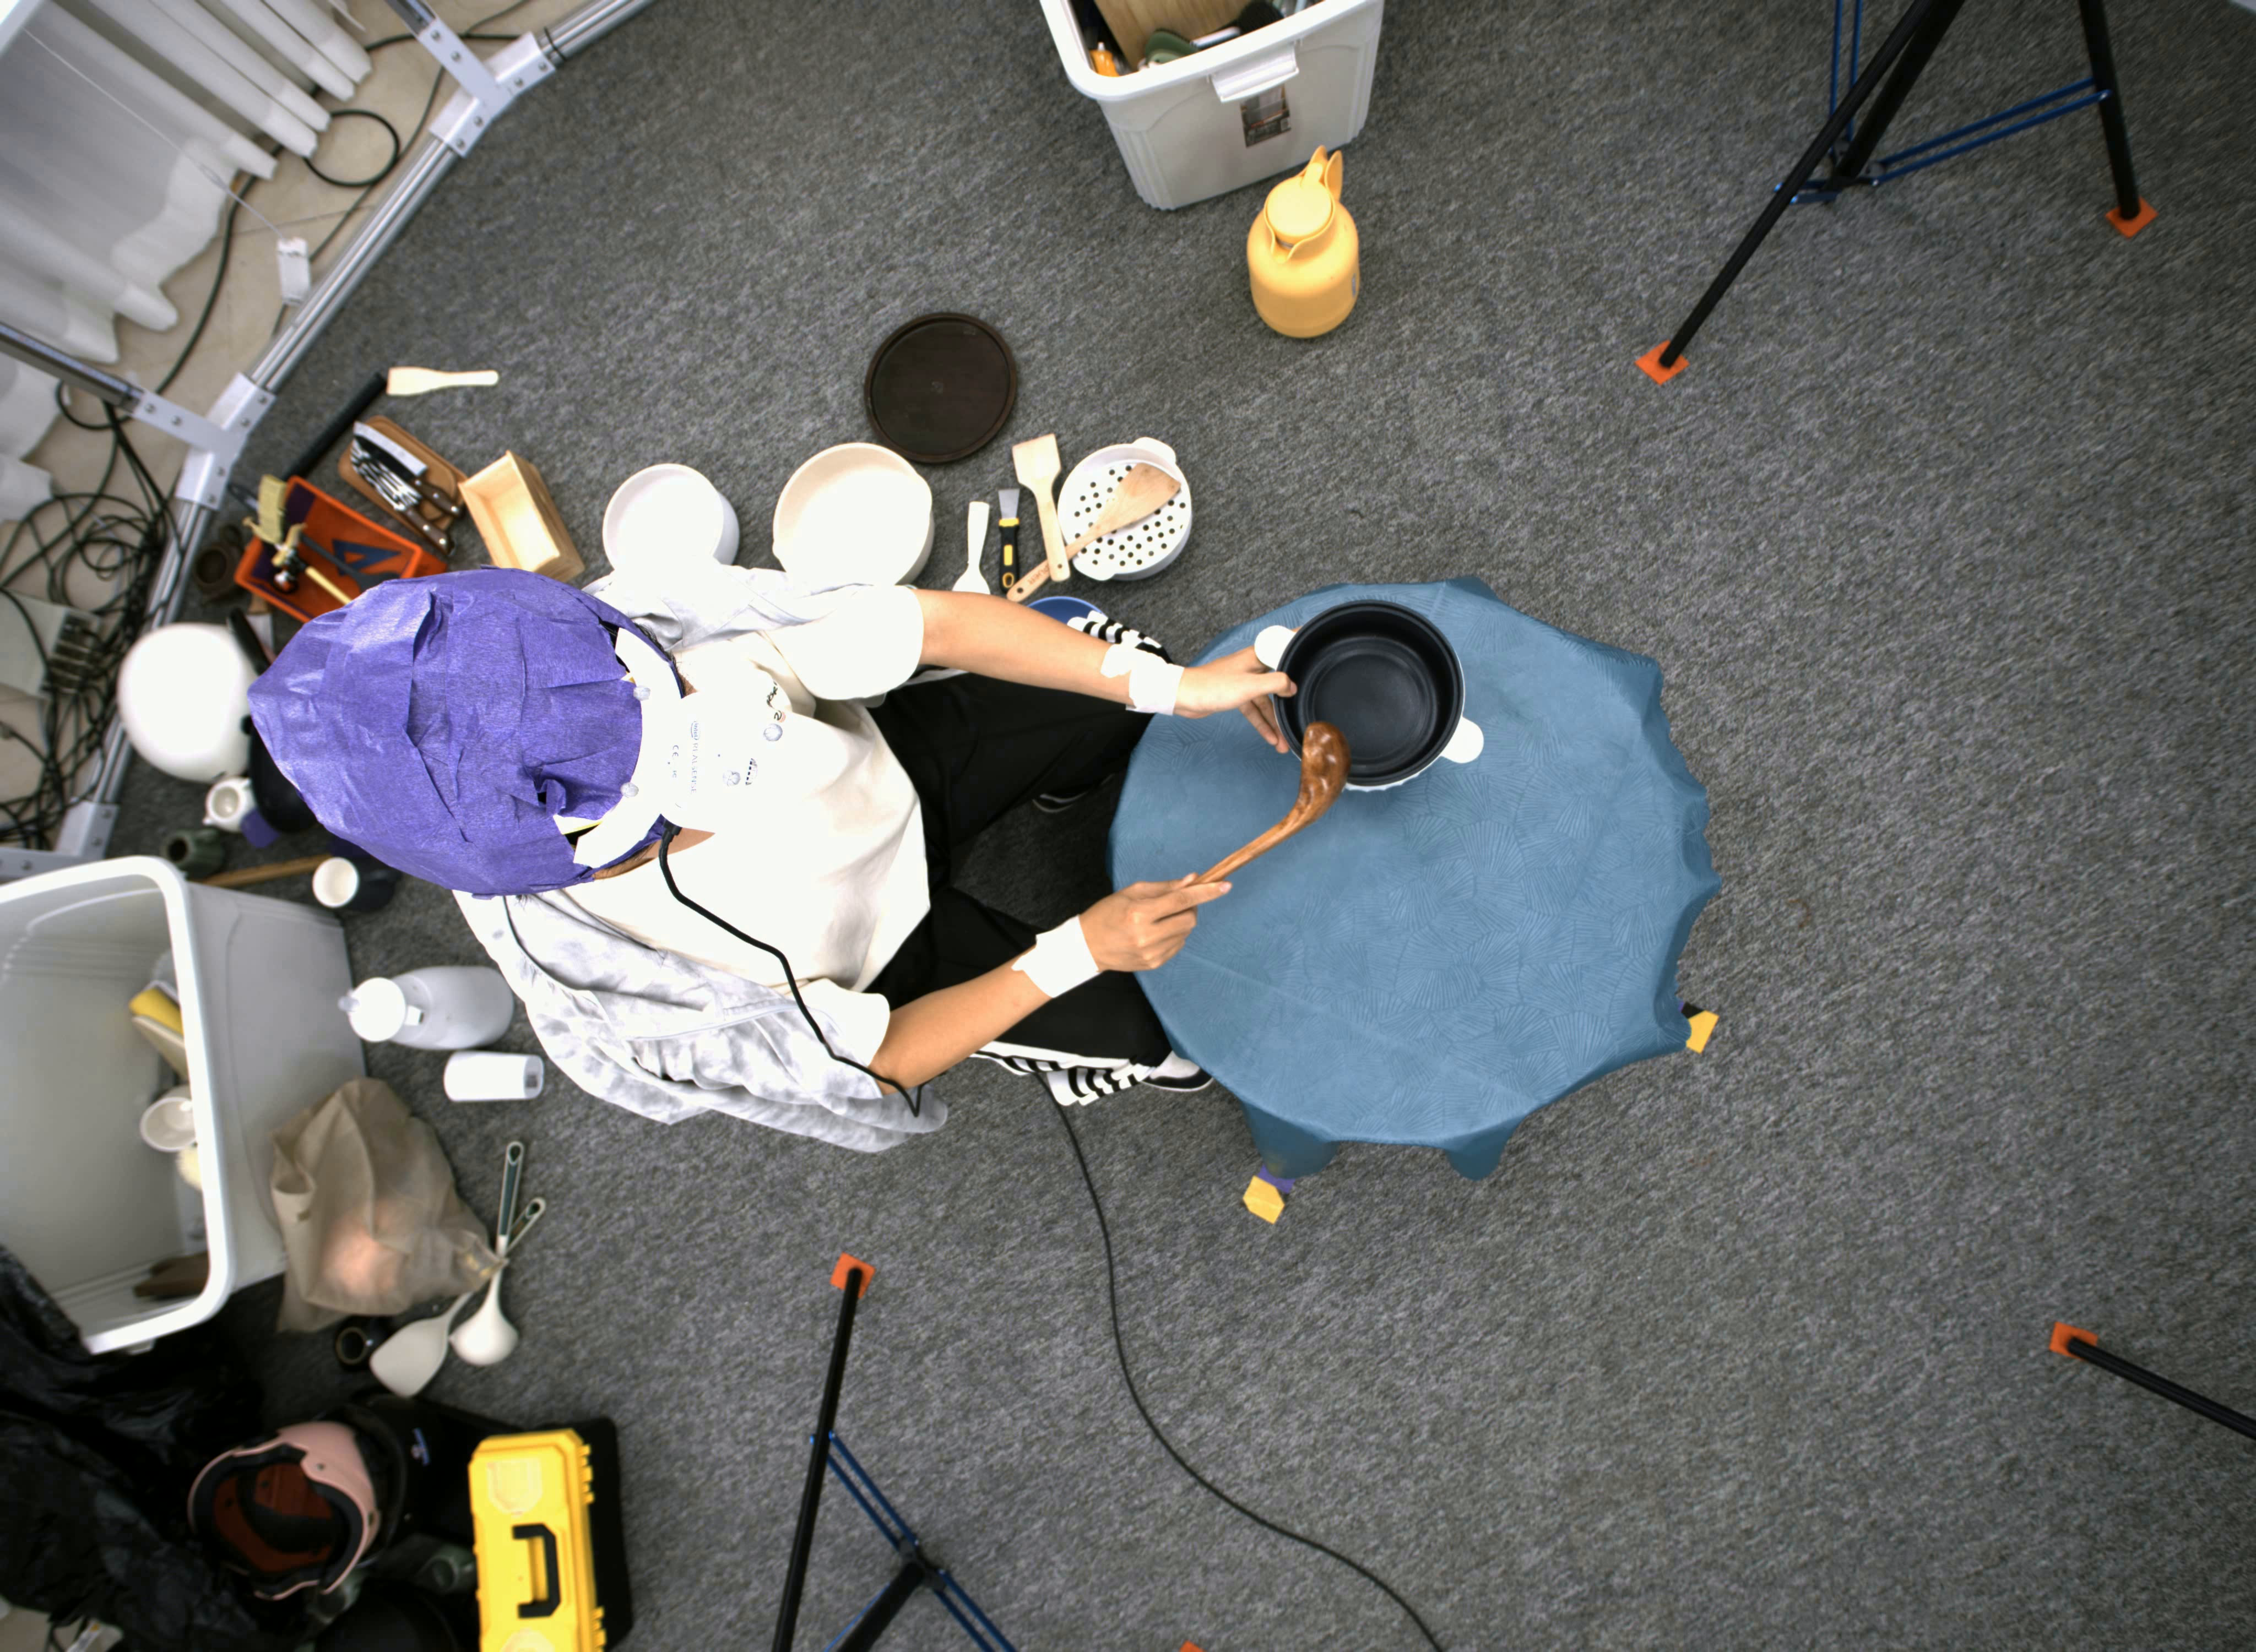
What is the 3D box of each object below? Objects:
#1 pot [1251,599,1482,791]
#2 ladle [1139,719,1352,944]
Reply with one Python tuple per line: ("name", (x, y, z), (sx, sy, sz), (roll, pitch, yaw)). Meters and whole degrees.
("pot", (0.239, -0.131, 1.373), (0.240, 0.142, 0.191), (28, 97, 8))
("ladle", (0.101, 0.004, 1.313), (0.278, 0.082, 0.075), (-38, 62, 20))
